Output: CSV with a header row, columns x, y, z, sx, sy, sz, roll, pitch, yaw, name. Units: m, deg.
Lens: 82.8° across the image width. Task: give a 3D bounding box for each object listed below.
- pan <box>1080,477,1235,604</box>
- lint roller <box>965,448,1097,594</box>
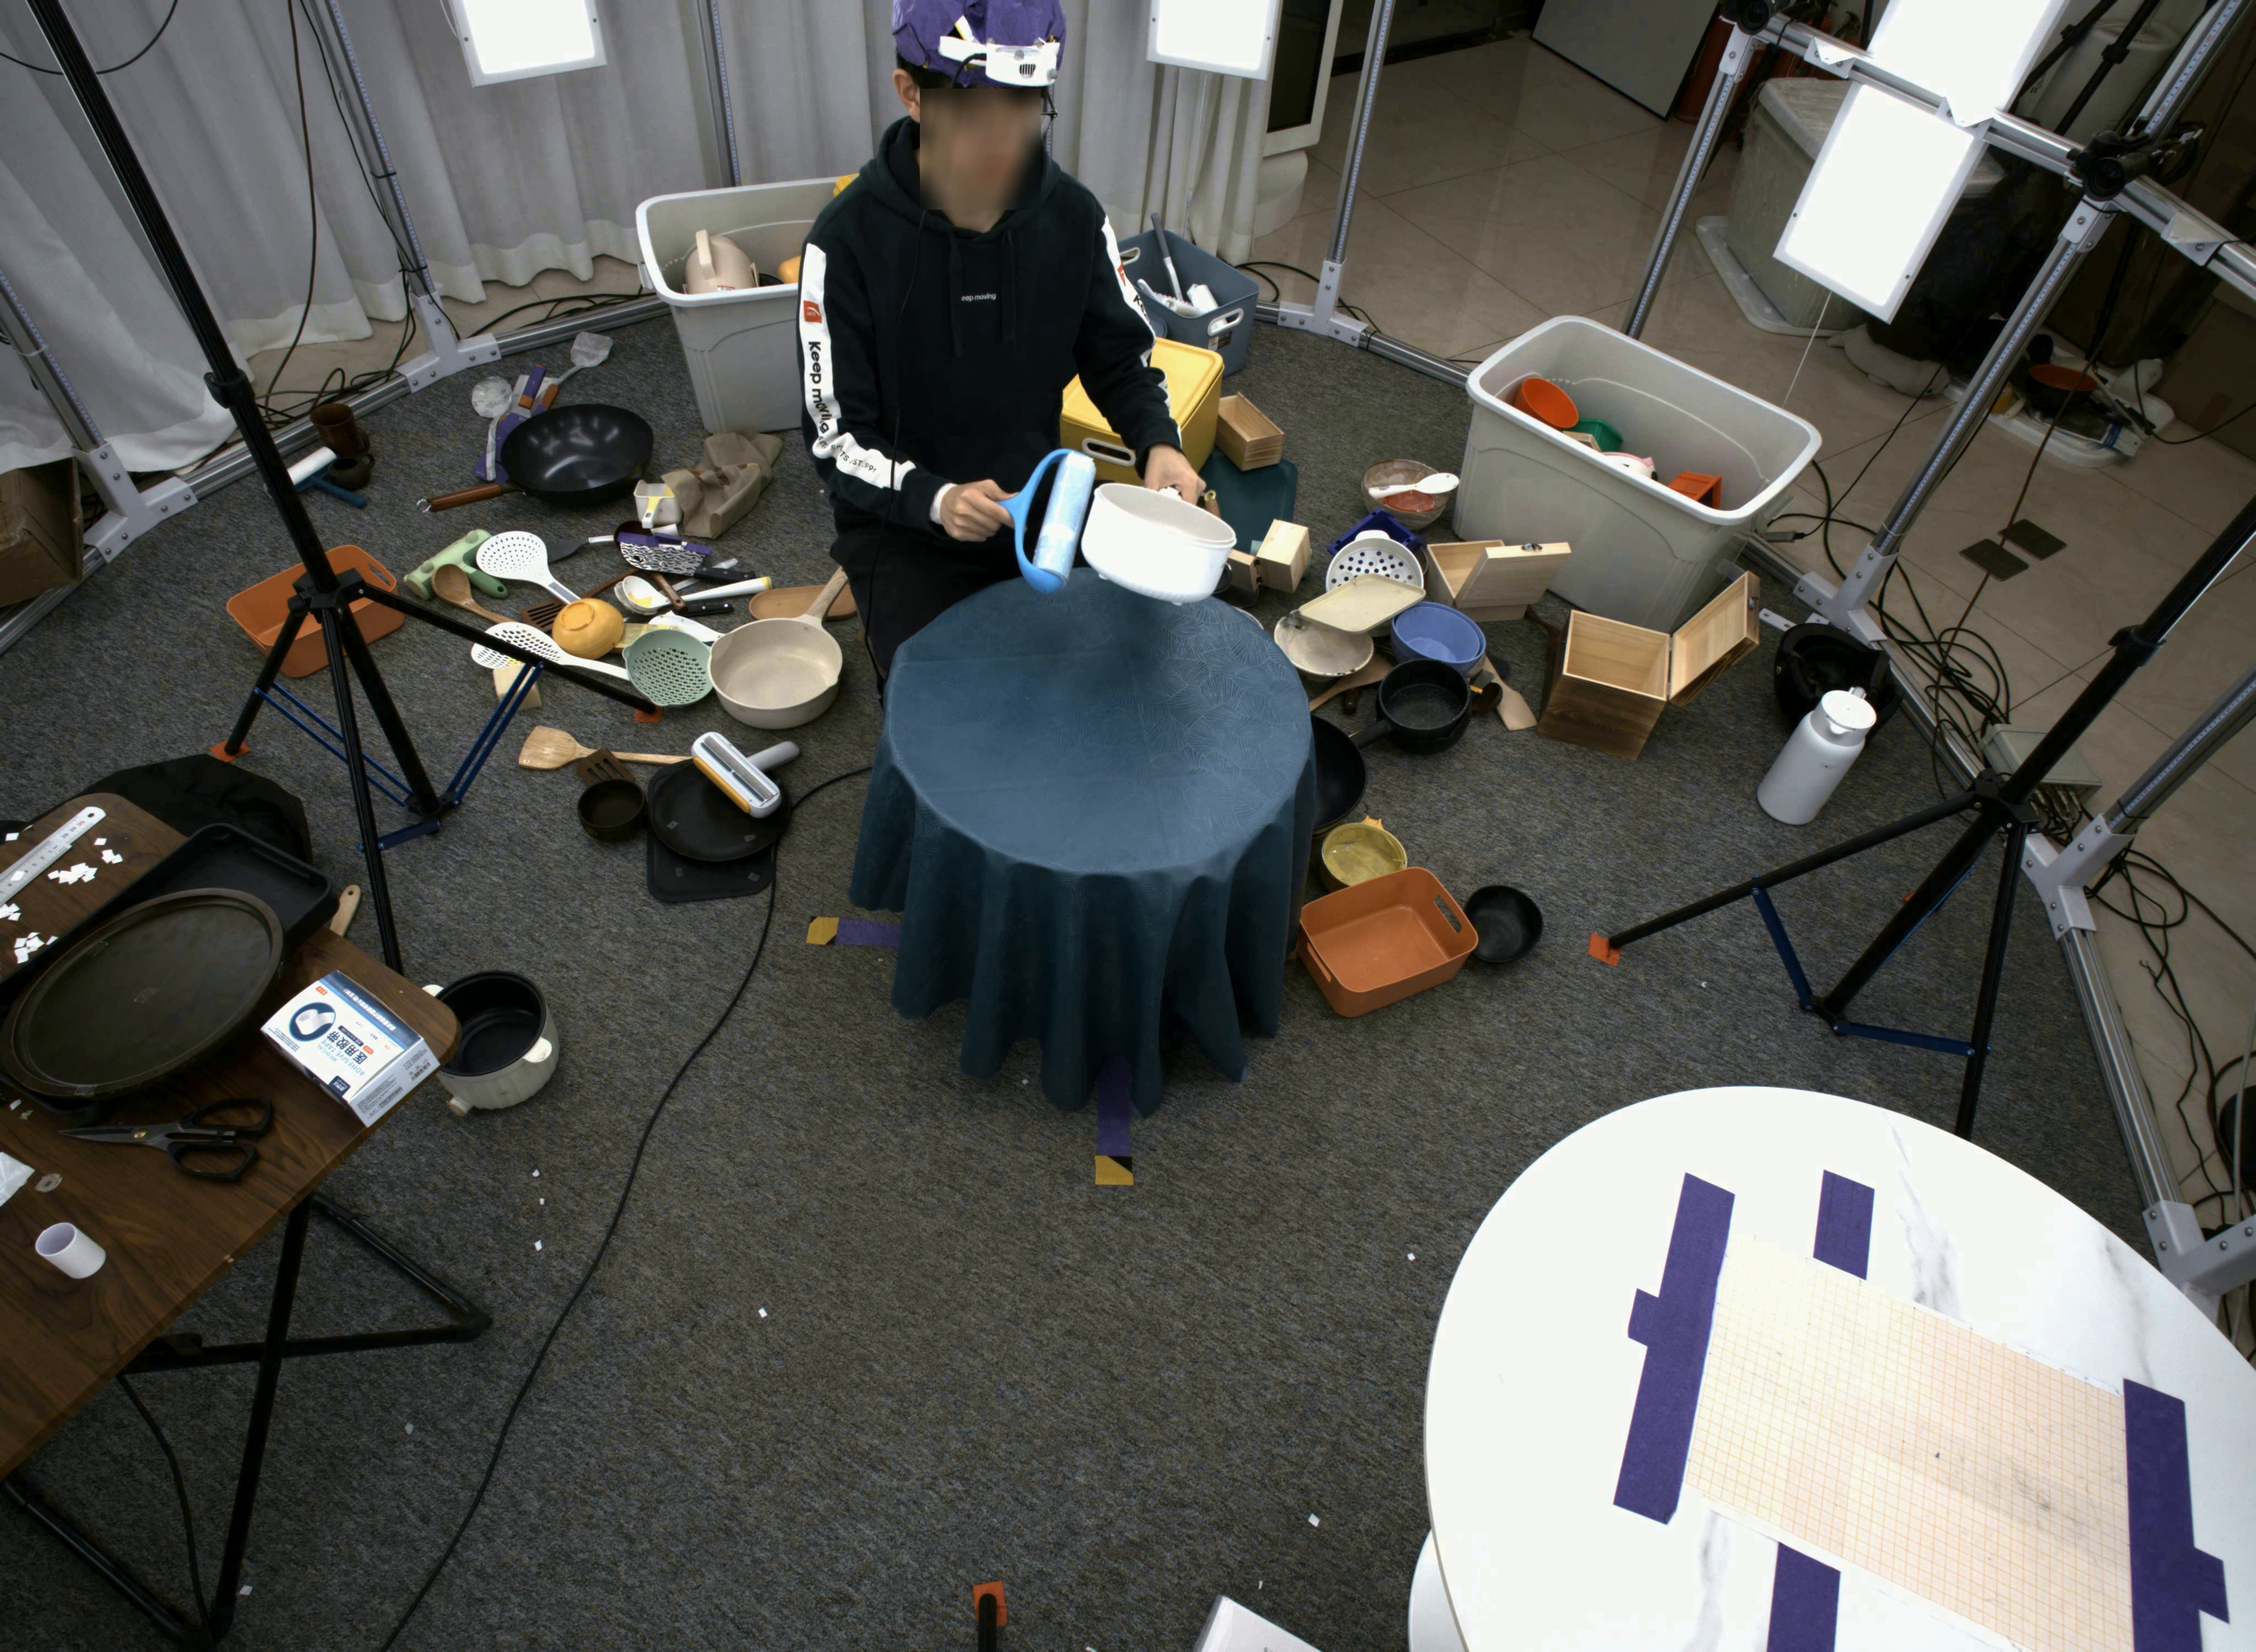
x,y,z,sx,sy,sz,roll,pitch,yaw,name
0.043,-0.412,1.813,0.201,0.100,0.361,18,25,-2,pan
-0.145,-0.423,1.778,0.180,0.066,0.233,4,65,10,lint roller
